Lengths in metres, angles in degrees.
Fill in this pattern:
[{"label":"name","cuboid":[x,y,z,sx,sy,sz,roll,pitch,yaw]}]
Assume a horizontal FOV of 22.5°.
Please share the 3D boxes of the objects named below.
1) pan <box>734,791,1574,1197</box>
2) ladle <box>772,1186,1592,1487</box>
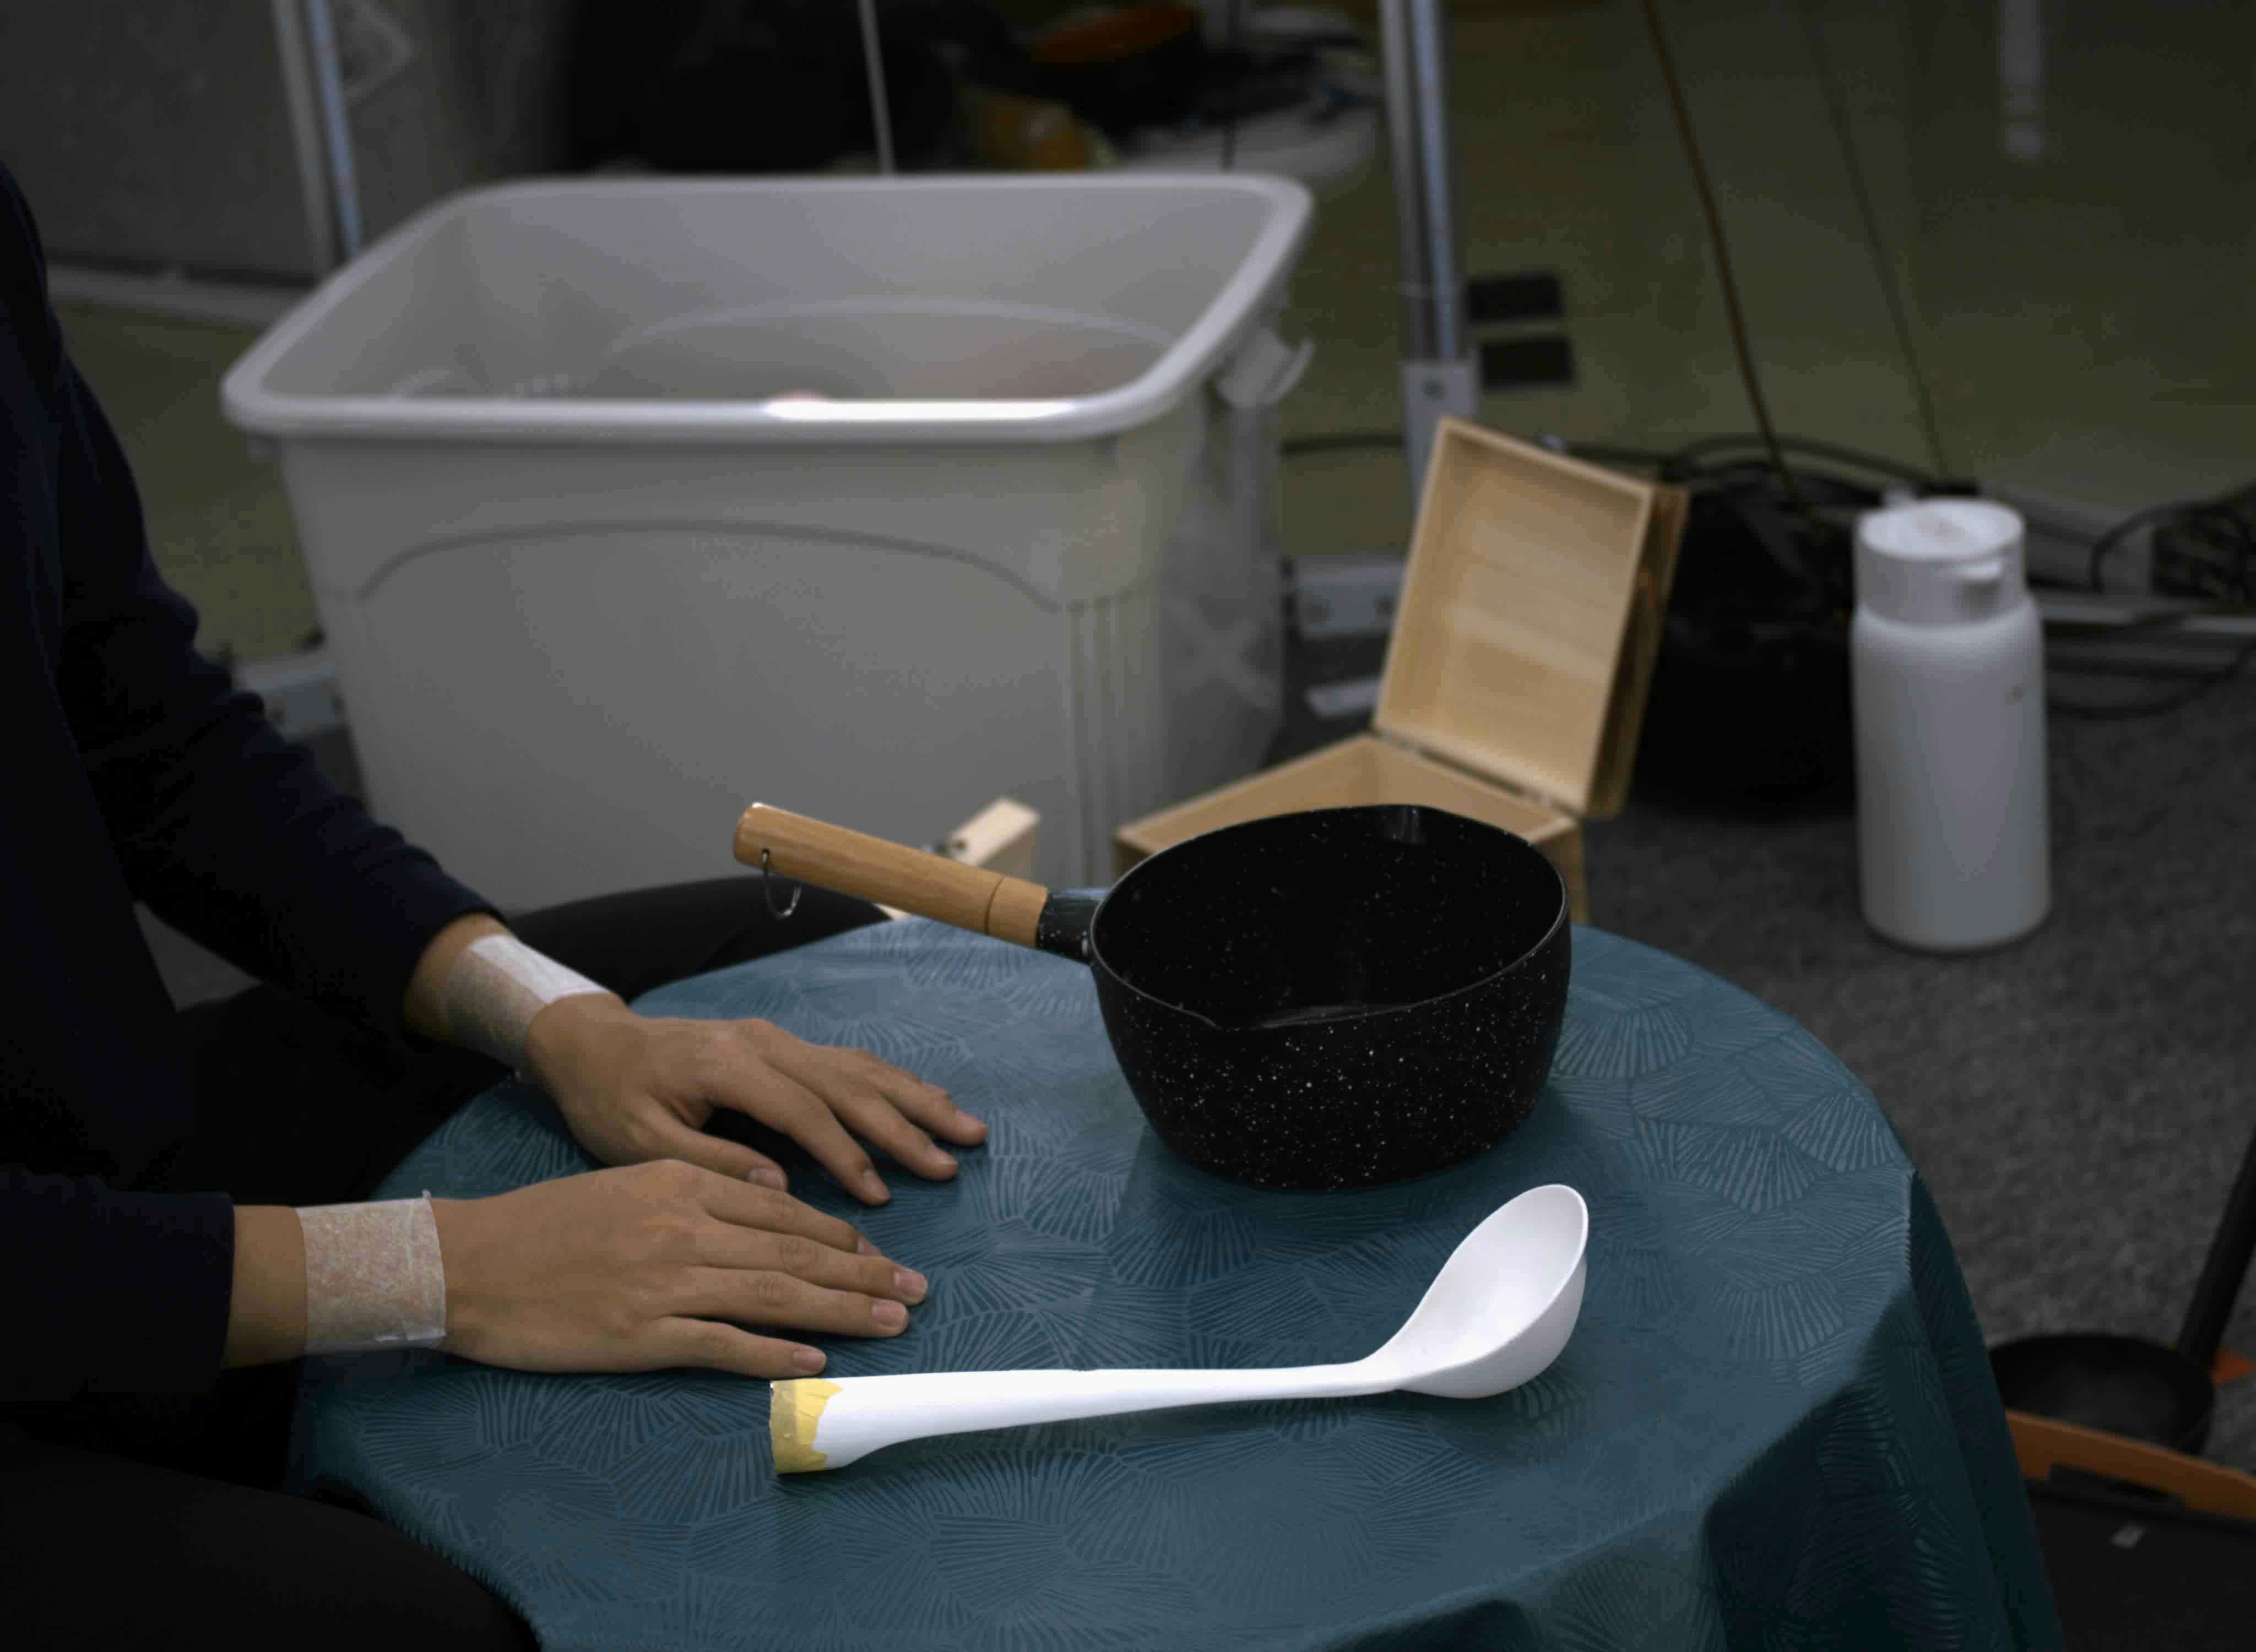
[{"label":"pan","cuboid":[0.006,0.054,2.198,0.342,0.110,0.204,5,29,20]},{"label":"ladle","cuboid":[0.018,0.182,1.972,0.292,0.071,0.088,-7,32,1]}]
